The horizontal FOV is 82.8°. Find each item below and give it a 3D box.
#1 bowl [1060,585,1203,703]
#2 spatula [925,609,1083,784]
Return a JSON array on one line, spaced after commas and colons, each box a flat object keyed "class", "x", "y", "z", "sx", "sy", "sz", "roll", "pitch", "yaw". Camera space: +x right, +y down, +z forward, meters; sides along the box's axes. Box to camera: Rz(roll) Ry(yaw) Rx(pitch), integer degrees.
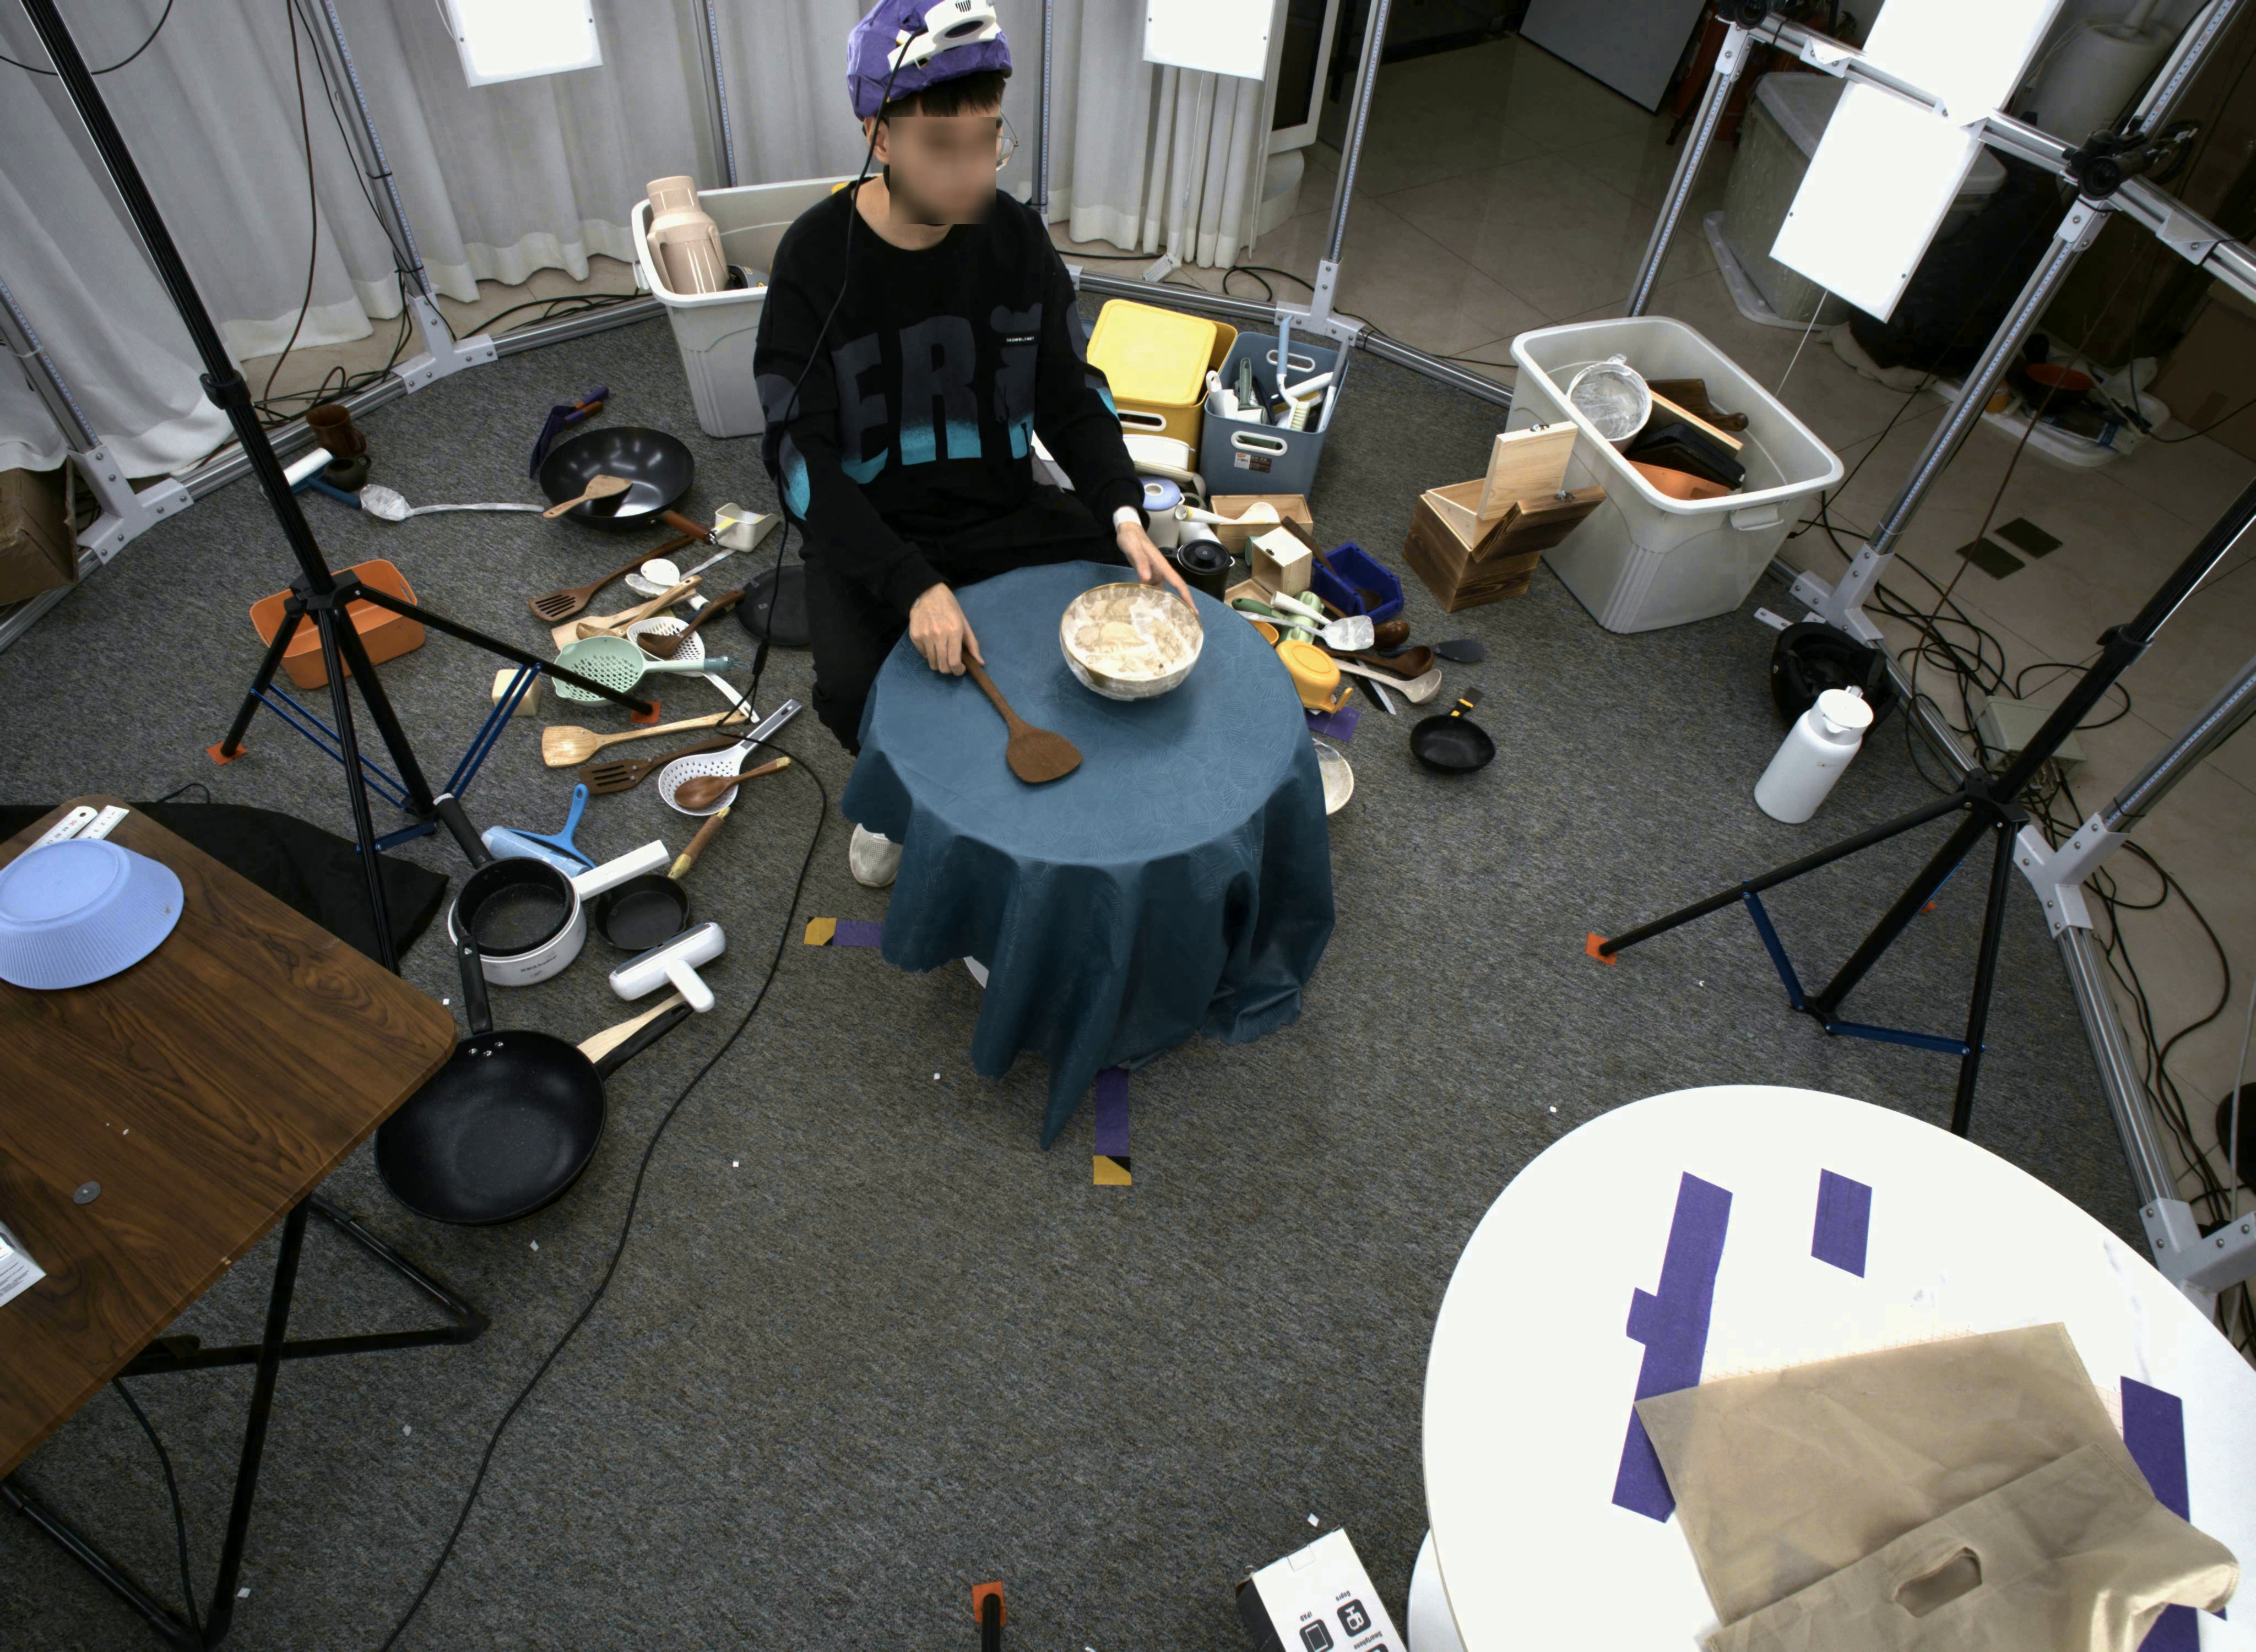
[{"class": "bowl", "x": 0.004, "y": -0.248, "z": 1.841, "sx": 0.214, "sy": 0.092, "sz": 0.220, "roll": 1, "pitch": 49, "yaw": -1}, {"class": "spatula", "x": -0.195, "y": -0.195, "z": 1.829, "sx": 0.096, "sy": 0.015, "sz": 0.394, "roll": -23, "pitch": 55, "yaw": -23}]
